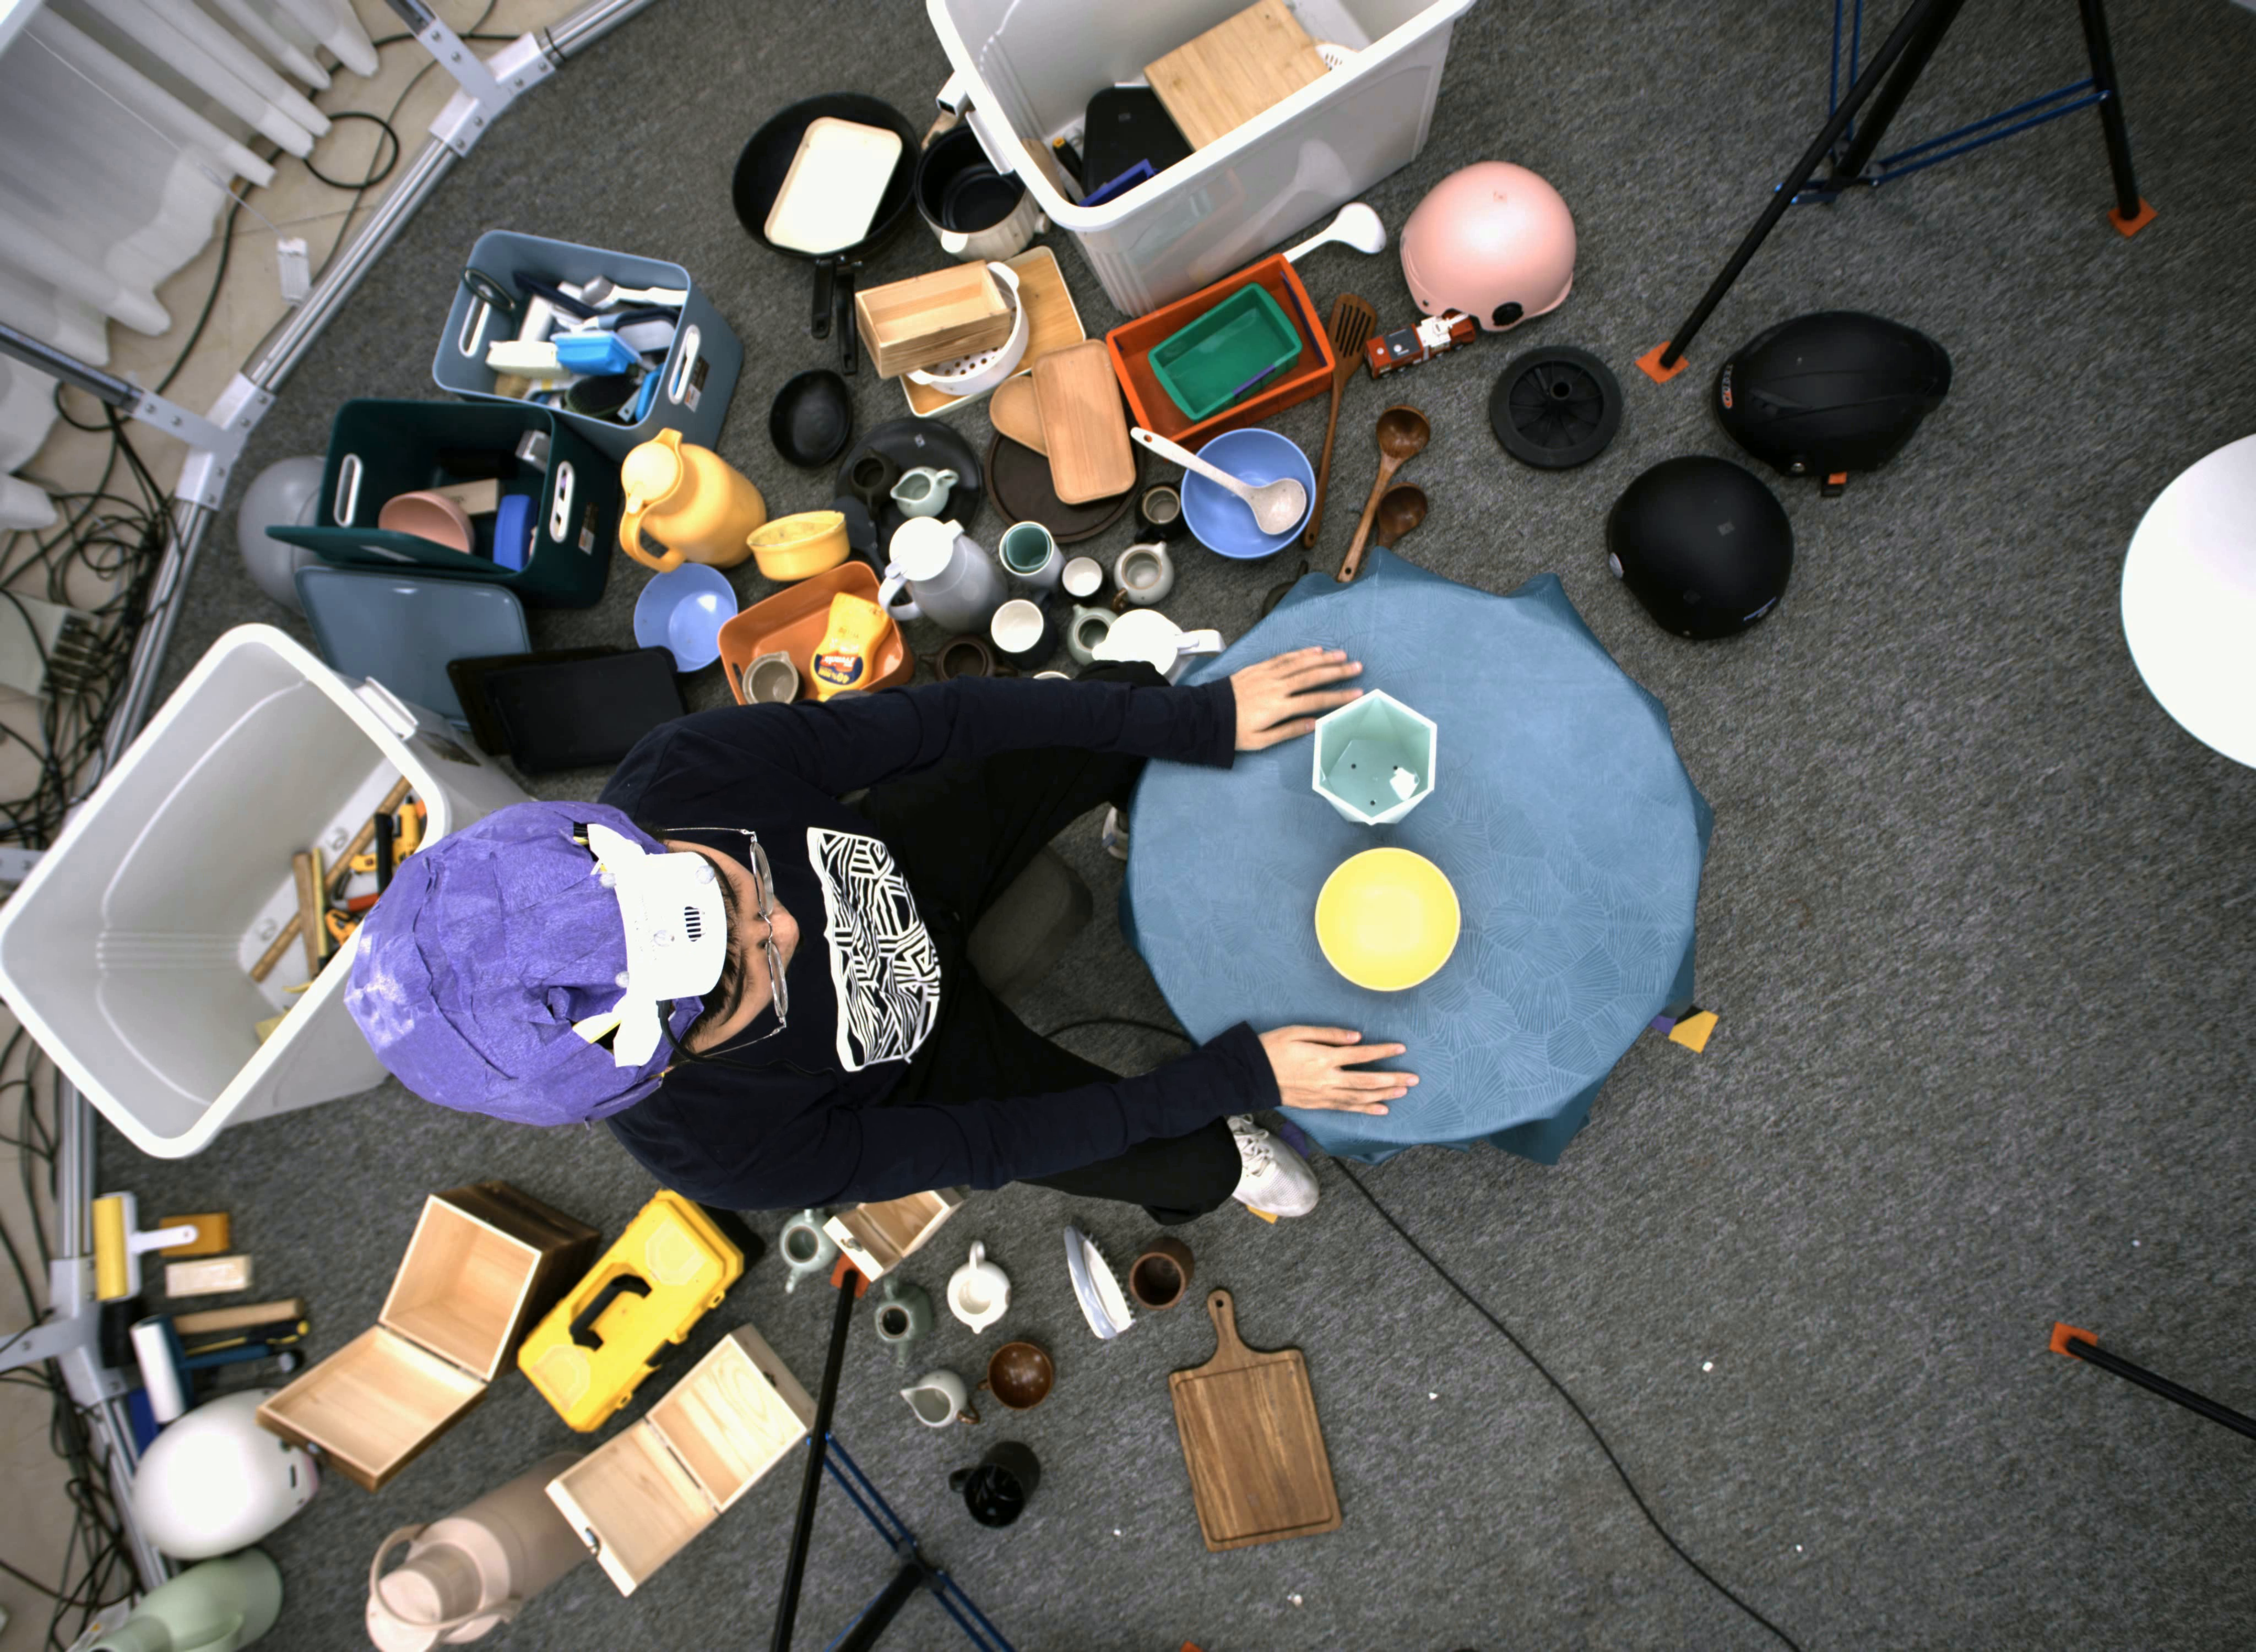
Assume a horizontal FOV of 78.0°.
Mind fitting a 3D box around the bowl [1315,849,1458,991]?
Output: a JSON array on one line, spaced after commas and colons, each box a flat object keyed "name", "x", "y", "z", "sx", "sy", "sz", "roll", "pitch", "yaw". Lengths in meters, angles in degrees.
[{"name": "bowl", "x": 0.267, "y": 0.097, "z": 1.429, "sx": 0.146, "sy": 0.060, "sz": 0.144, "roll": -1, "pitch": 86, "yaw": 12}]

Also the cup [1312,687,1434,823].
[{"name": "cup", "x": 0.248, "y": -0.061, "z": 1.387, "sx": 0.115, "sy": 0.163, "sz": 0.130, "roll": 1, "pitch": 85, "yaw": 11}]
